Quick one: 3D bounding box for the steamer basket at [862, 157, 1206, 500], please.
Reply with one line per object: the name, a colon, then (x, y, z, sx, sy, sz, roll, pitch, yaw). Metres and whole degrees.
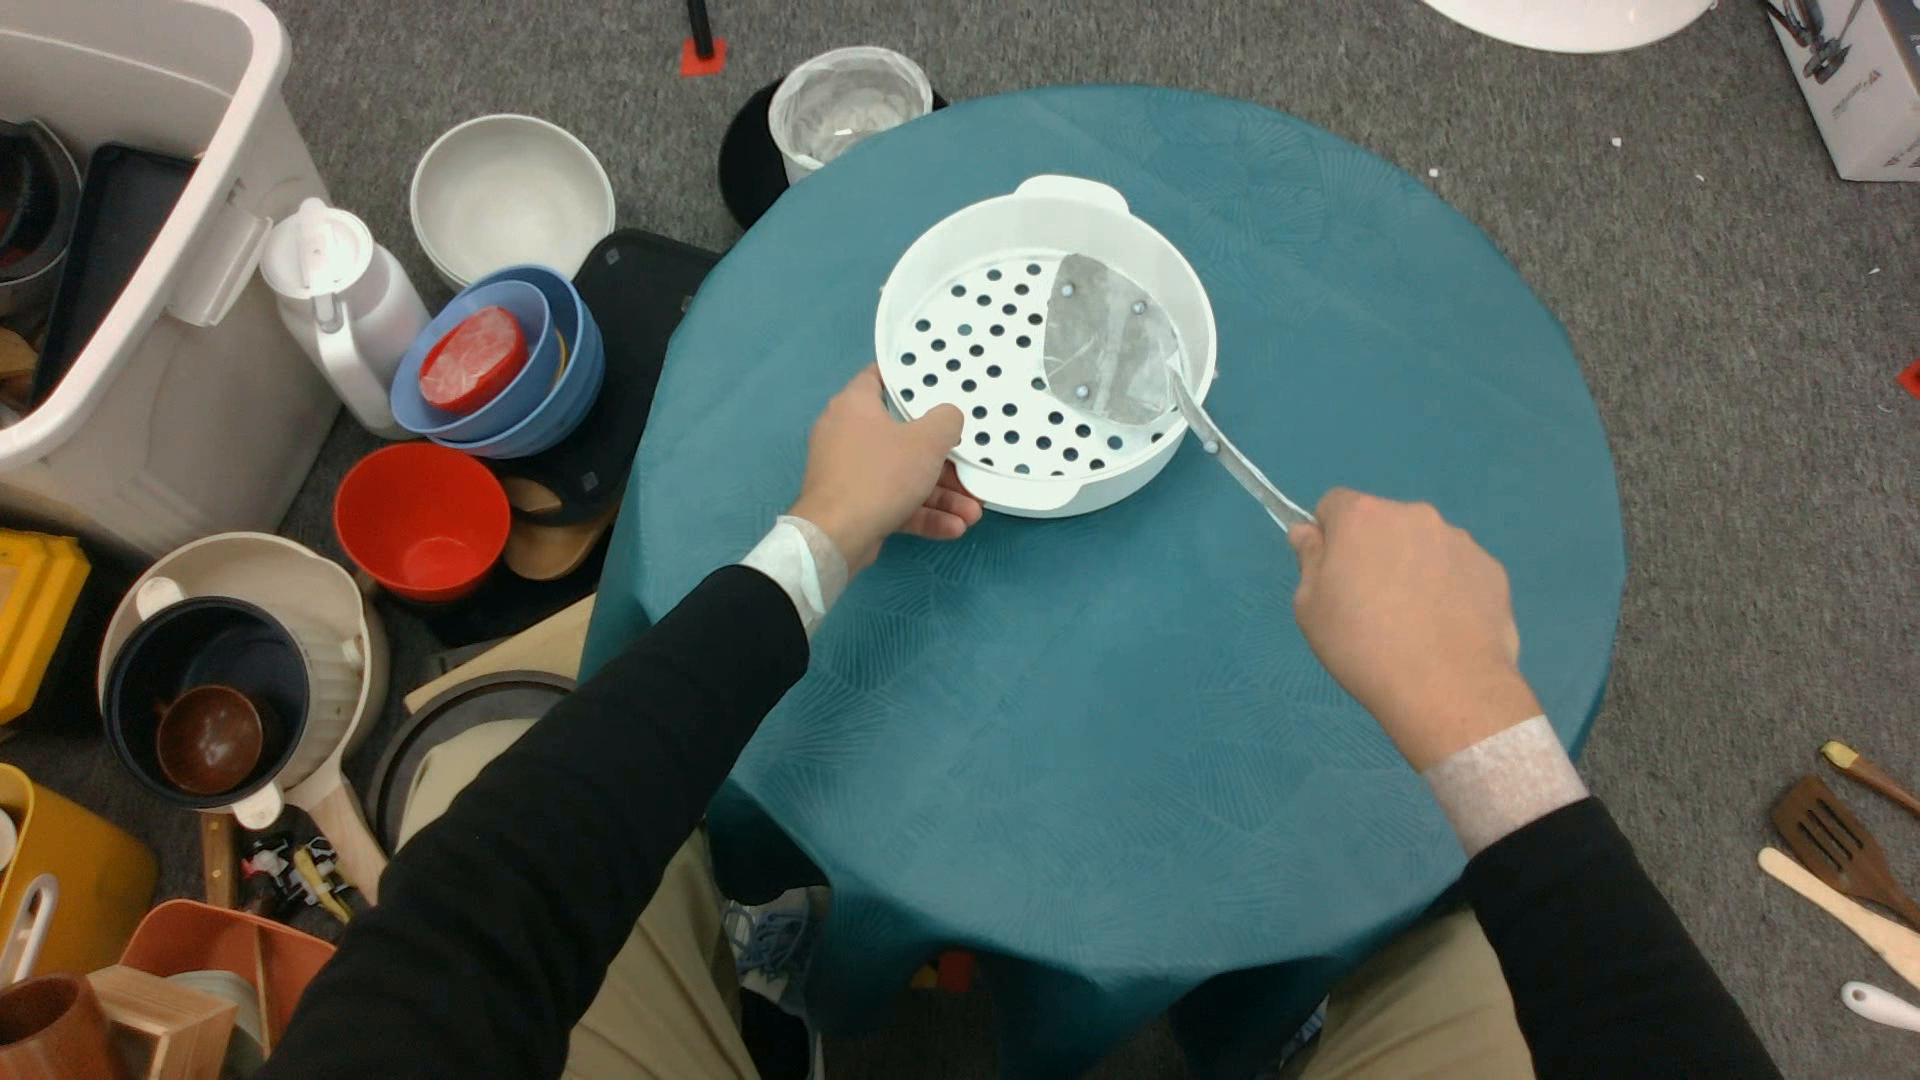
steamer basket: (0.043, -0.121, 0.835, 0.202, 0.069, 0.231, 10, 67, 4)

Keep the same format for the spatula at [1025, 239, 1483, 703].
spatula: (0.137, -0.041, 0.716, 0.045, 0.098, 0.365, -8, 40, -25)
